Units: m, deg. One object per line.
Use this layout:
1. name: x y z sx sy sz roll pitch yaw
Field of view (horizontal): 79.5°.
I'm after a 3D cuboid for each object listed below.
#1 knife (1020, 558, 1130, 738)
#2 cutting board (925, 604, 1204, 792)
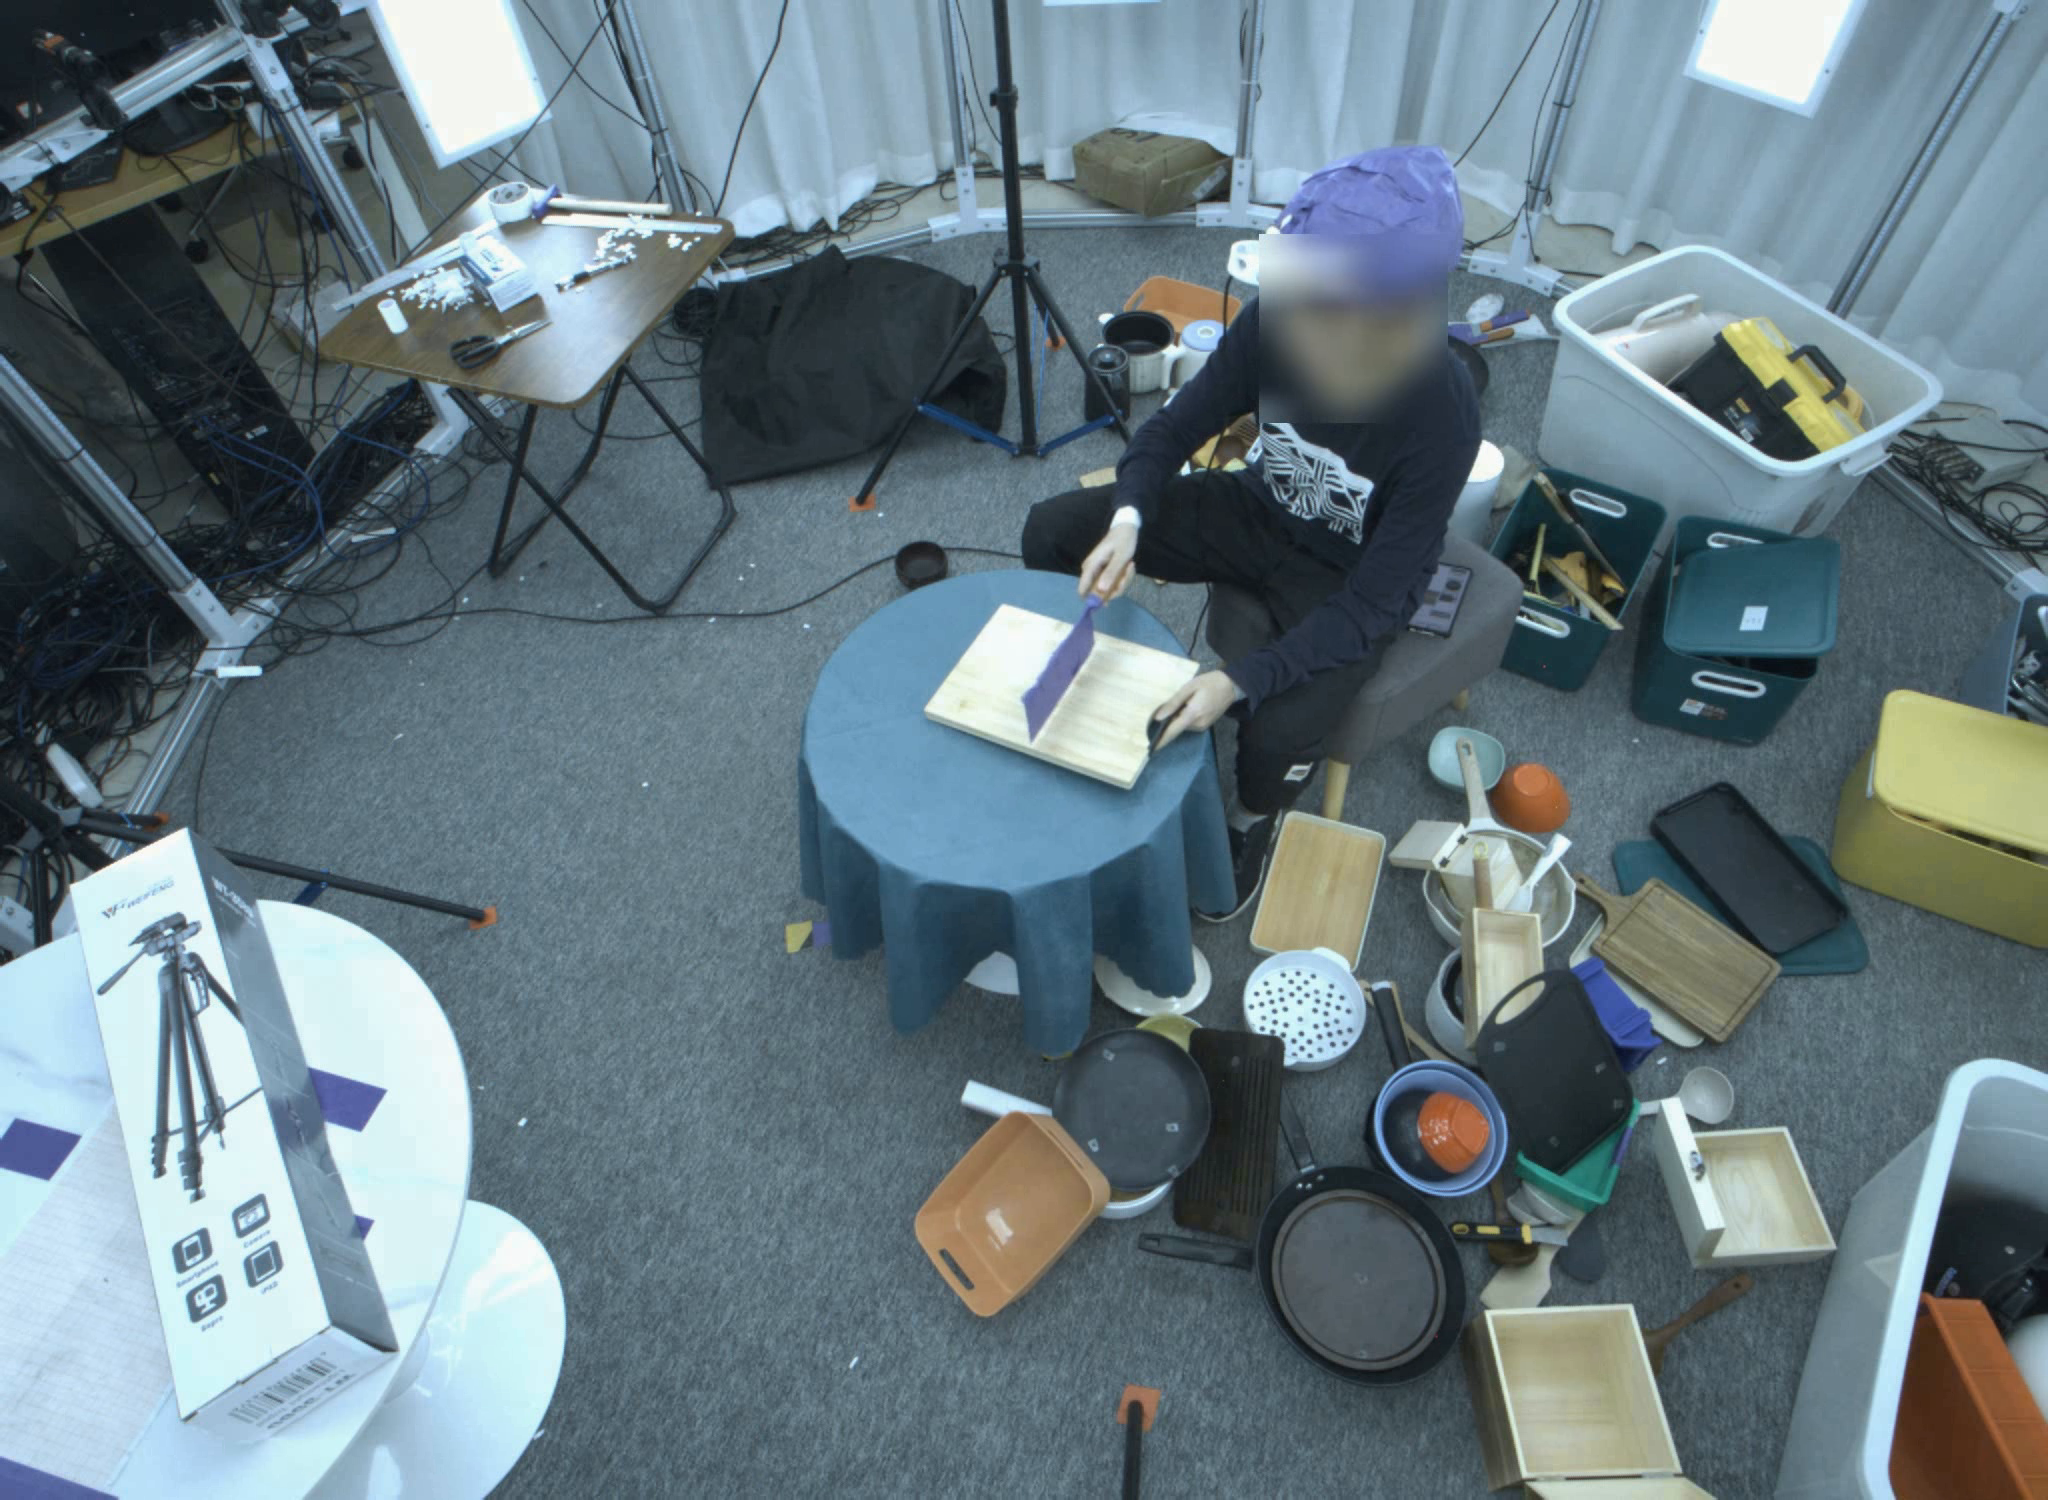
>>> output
1. knife: 0.074 -0.150 1.795 0.032 0.105 0.316 21 57 21
2. cutting board: 0.060 -0.086 1.828 0.343 0.024 0.251 20 57 20
